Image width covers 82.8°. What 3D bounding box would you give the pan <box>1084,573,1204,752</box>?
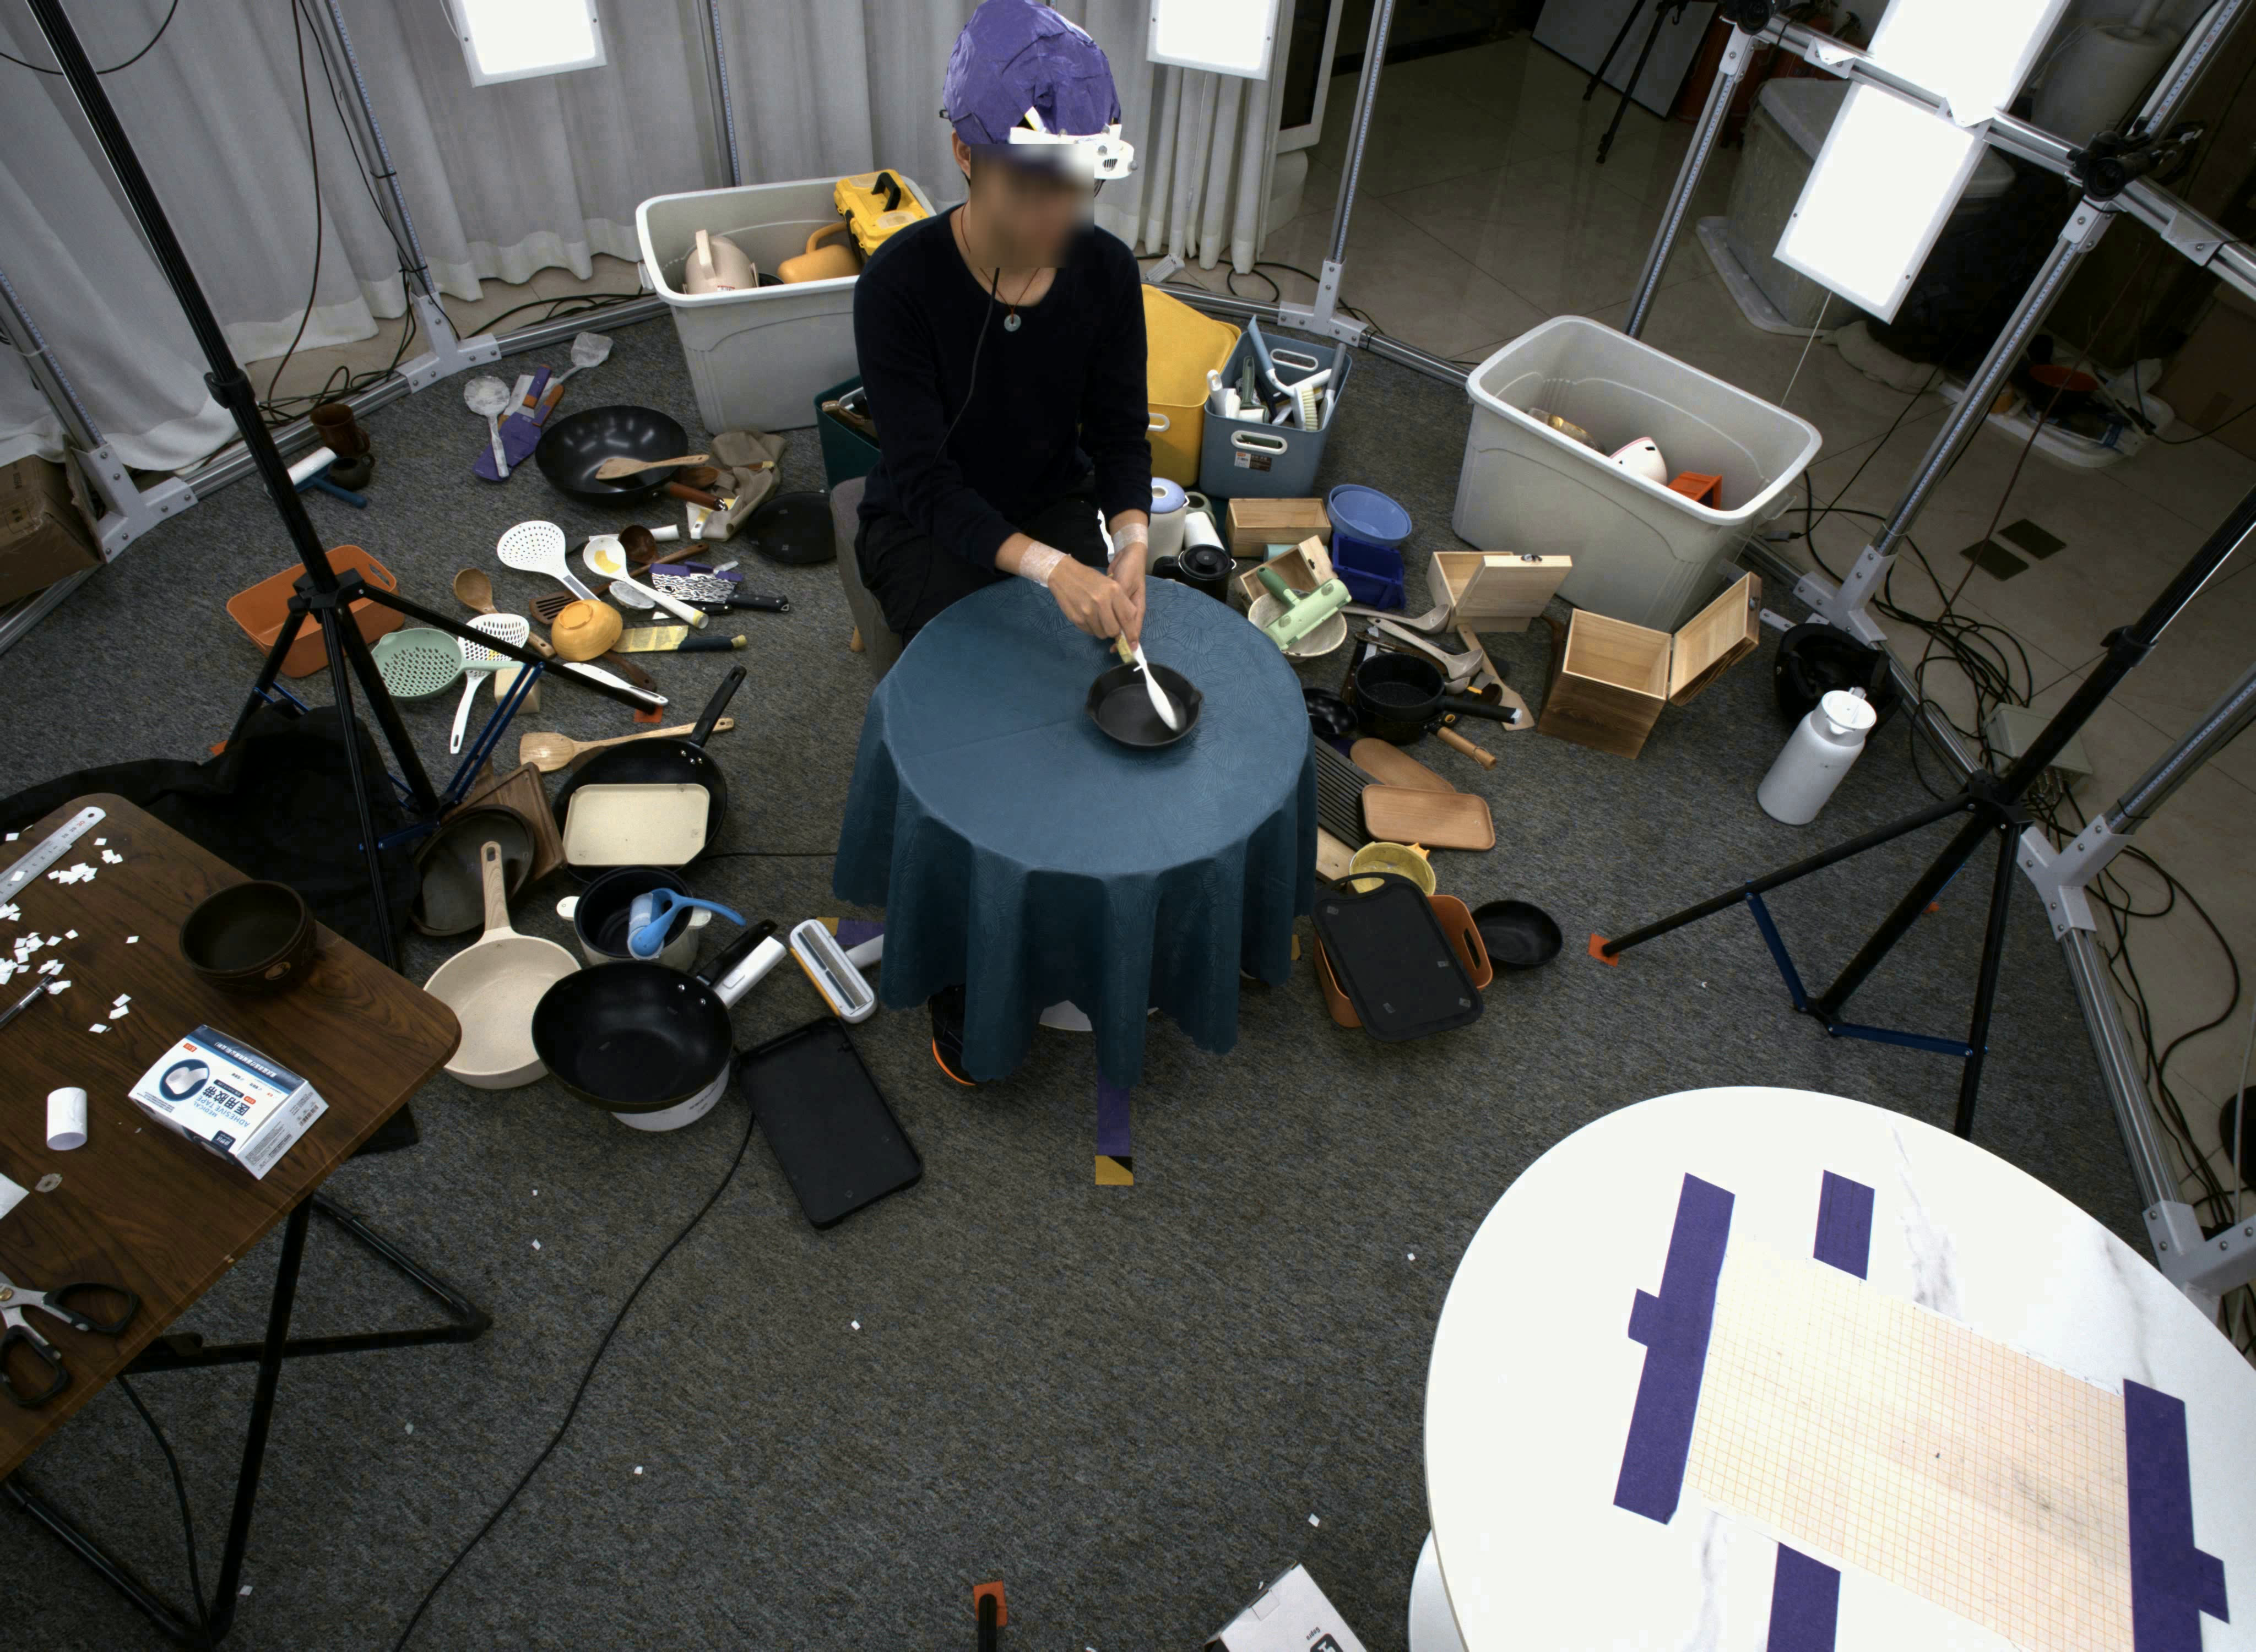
[{"bbox_3d":[0.007,-0.234,1.833,0.169,0.048,0.332,-6,53,-9],"label":"pan"}]

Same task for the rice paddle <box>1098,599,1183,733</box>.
[{"bbox_3d":[0.025,-0.216,1.760,0.029,0.204,0.069,-30,7,14],"label":"rice paddle"}]
